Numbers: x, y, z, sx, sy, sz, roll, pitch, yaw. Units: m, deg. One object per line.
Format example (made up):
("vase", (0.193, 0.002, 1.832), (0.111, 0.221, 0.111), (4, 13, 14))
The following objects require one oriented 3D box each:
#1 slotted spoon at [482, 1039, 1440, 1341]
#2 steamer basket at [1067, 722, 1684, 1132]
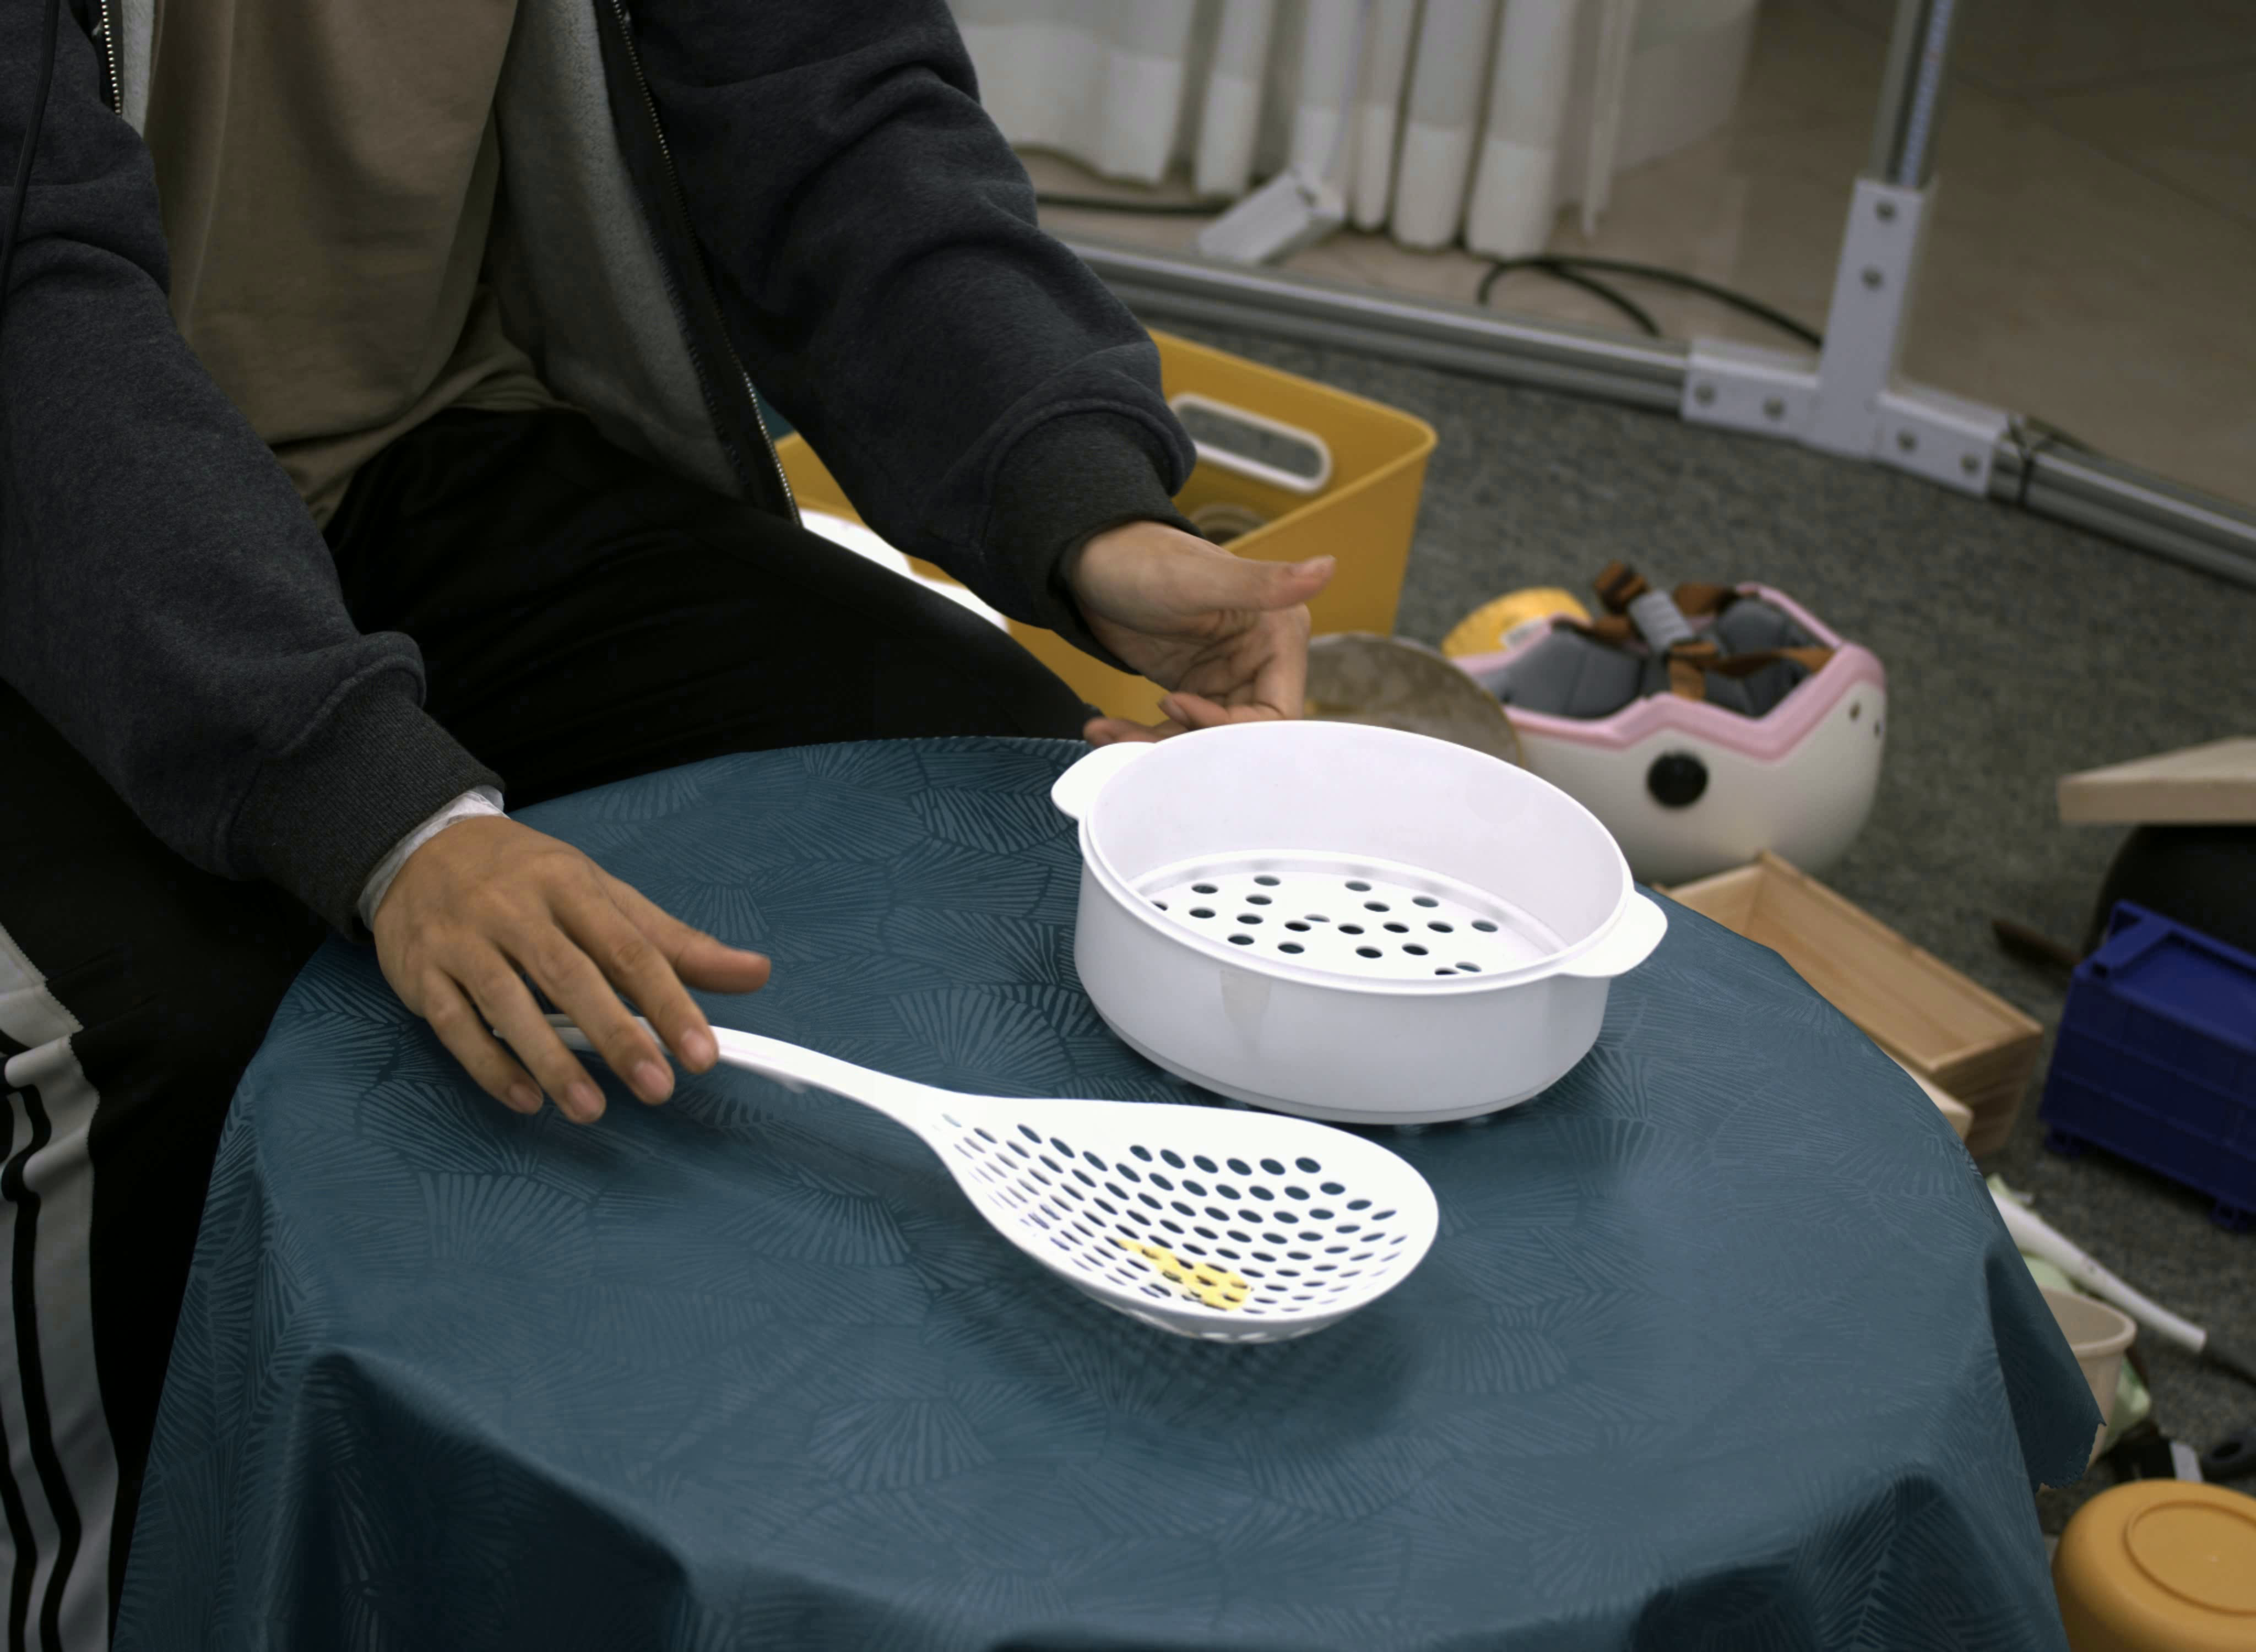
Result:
("slotted spoon", (-0.064, 0.107, 1.776), (0.349, 0.050, 0.137), (18, 32, 23))
("steamer basket", (0.084, 0.037, 1.916), (0.231, 0.069, 0.202), (19, 29, 19))
